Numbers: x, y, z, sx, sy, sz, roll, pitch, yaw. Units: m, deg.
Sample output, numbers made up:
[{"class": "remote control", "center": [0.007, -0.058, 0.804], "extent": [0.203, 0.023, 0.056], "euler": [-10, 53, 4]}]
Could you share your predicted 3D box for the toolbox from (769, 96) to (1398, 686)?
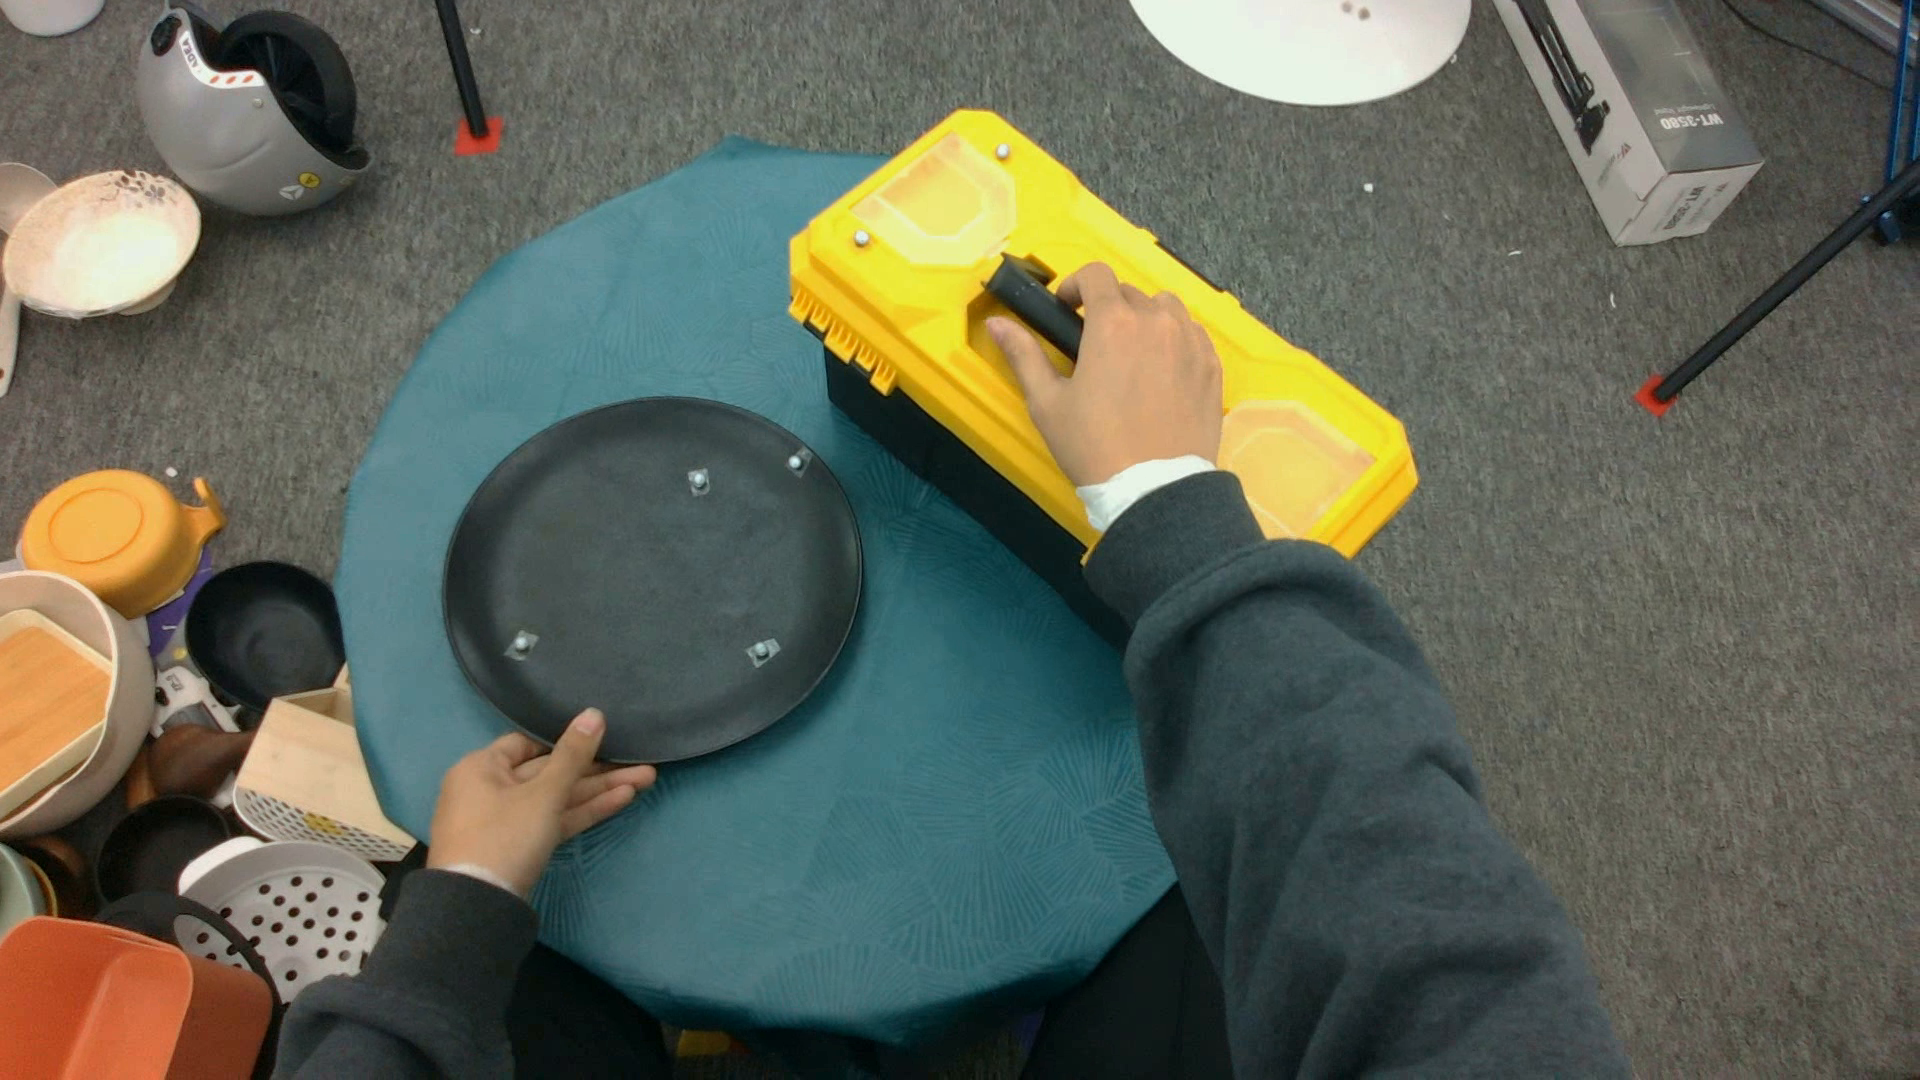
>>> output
[{"class": "toolbox", "center": [0.061, -0.084, 0.810], "extent": [0.351, 0.172, 0.182], "euler": [42, 67, 15]}]

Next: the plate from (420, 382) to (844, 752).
[{"class": "plate", "center": [-0.191, 0.013, 0.820], "extent": [0.244, 0.023, 0.245], "euler": [3, 62, -5]}]
